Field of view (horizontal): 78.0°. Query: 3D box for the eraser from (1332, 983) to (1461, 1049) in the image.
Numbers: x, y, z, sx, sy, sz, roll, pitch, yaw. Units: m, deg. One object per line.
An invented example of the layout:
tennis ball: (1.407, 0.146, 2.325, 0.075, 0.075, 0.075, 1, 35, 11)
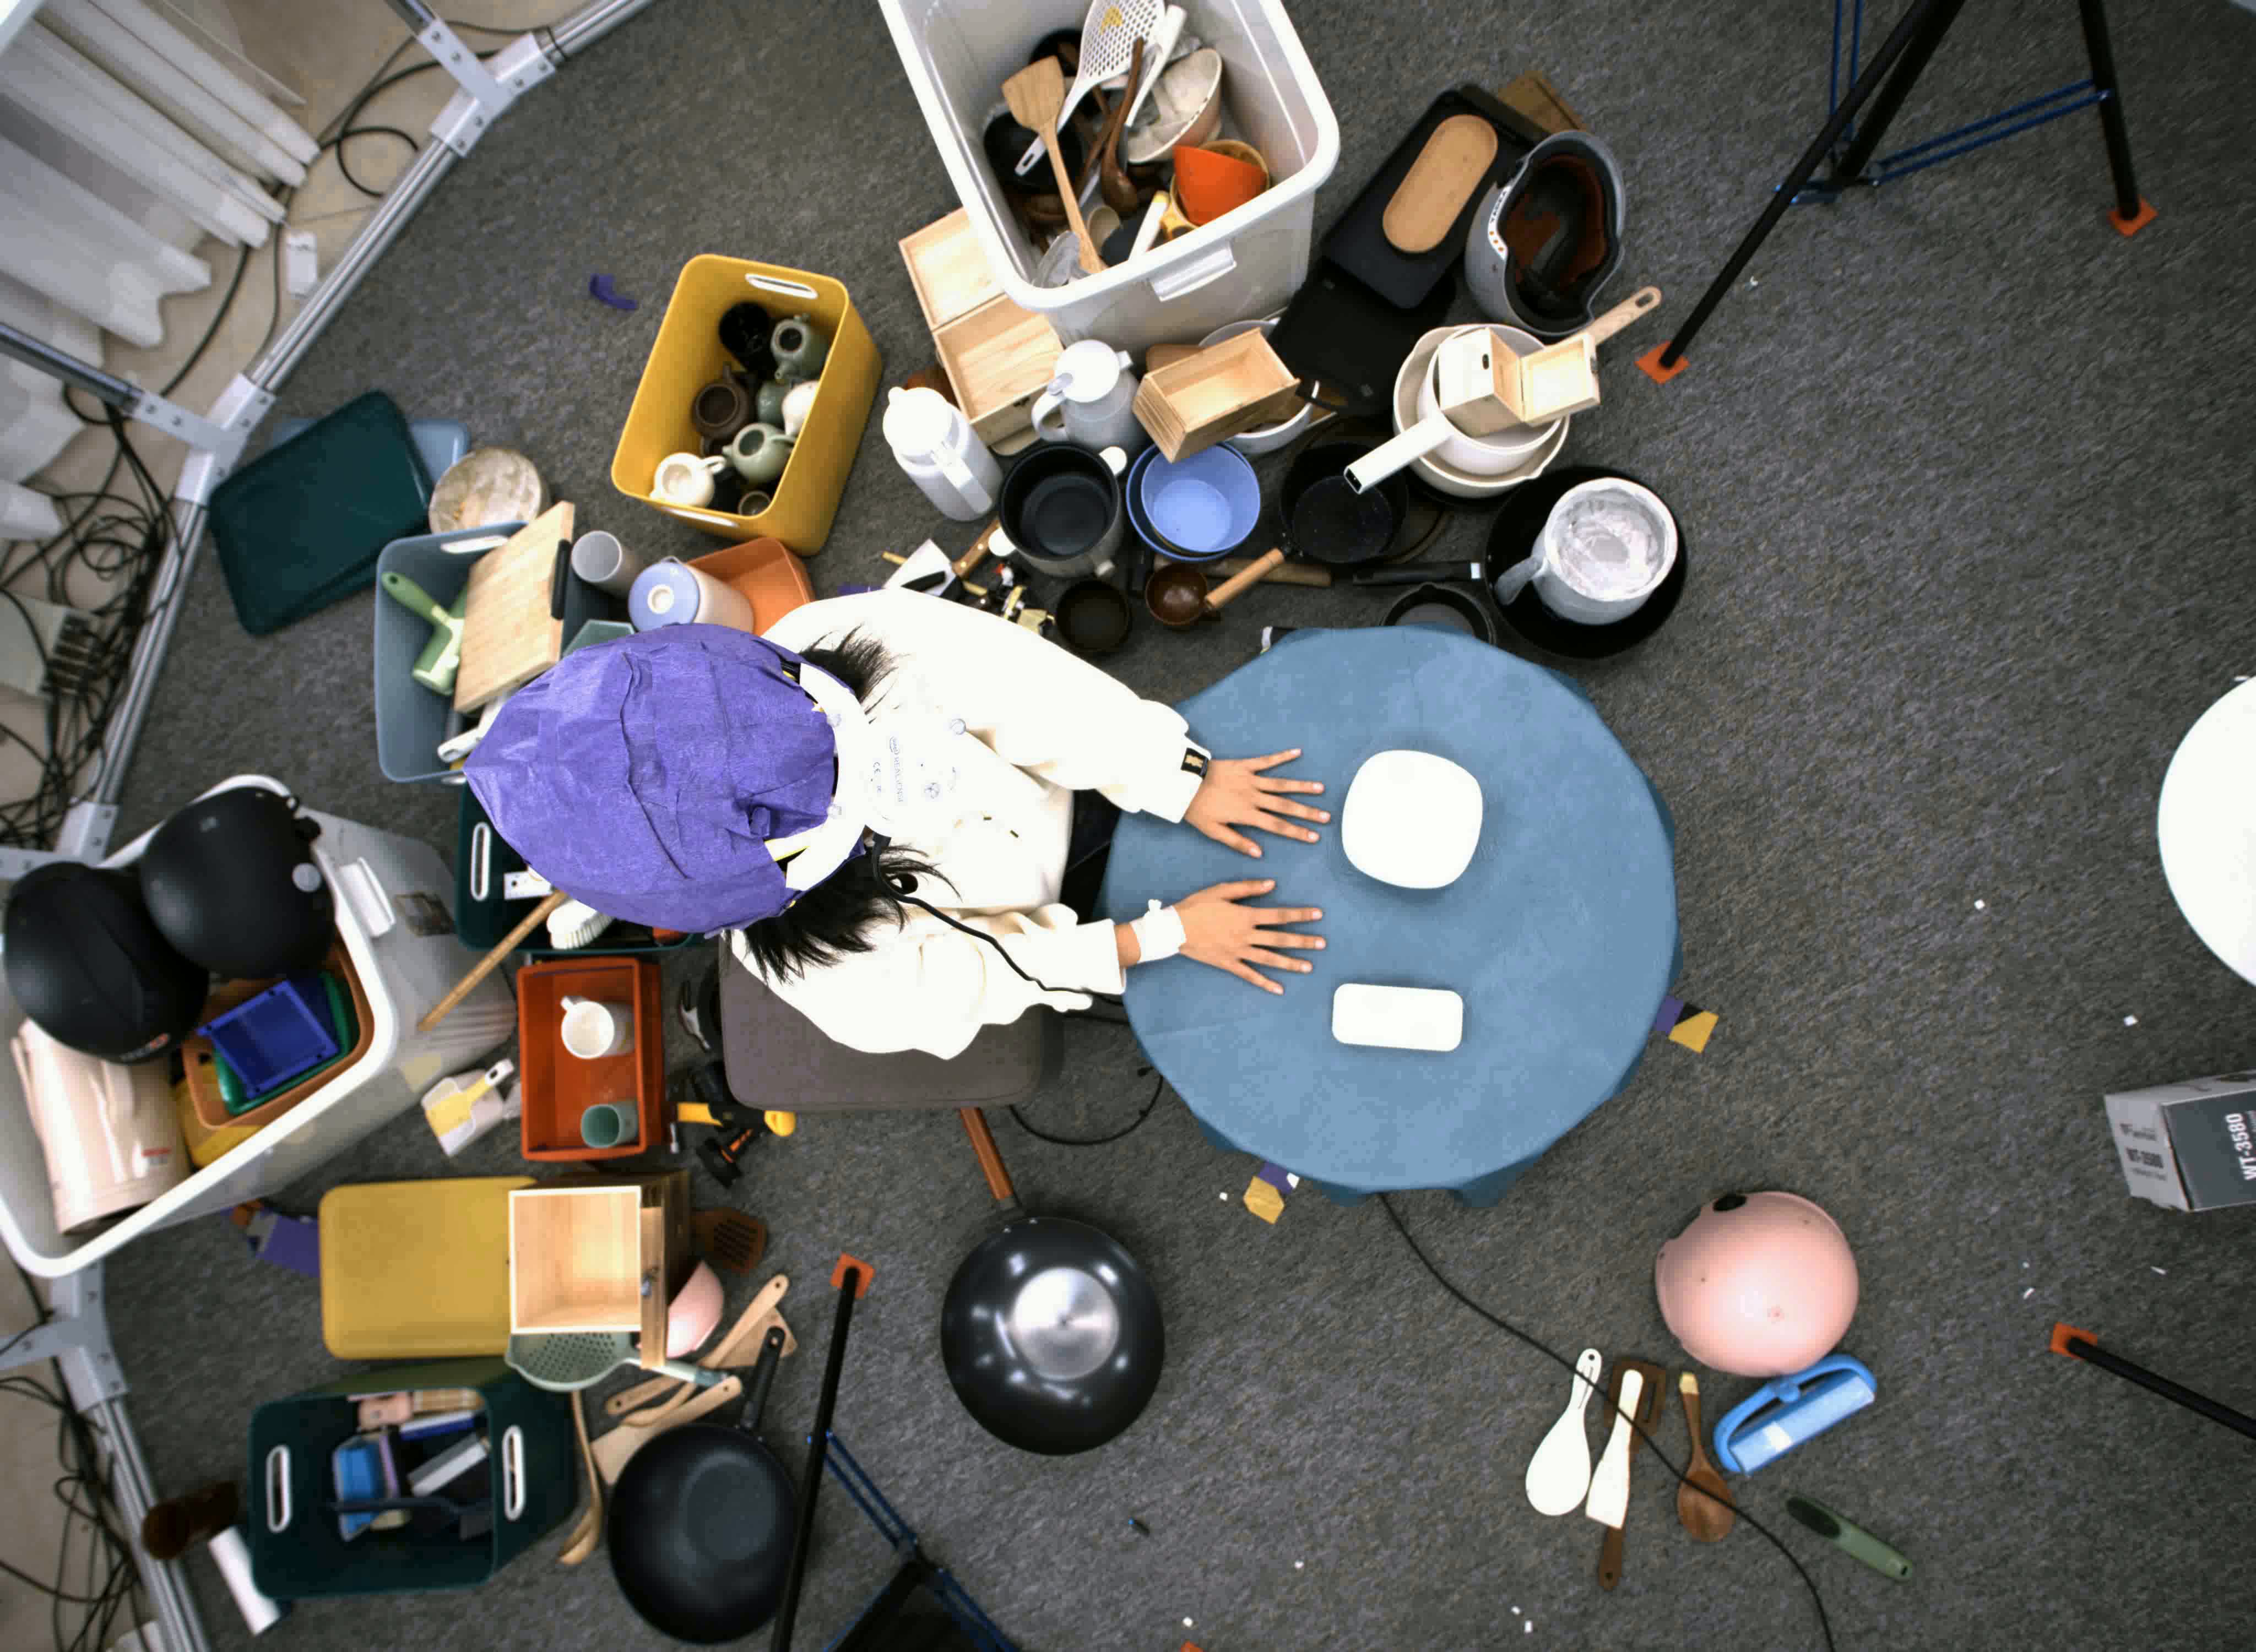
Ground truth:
eraser: (0.278, 0.195, 1.436, 0.132, 0.034, 0.063, 3, 87, 10)

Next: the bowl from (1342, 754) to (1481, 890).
bowl: (0.295, -0.003, 1.434, 0.152, 0.059, 0.150, -1, 85, 12)
